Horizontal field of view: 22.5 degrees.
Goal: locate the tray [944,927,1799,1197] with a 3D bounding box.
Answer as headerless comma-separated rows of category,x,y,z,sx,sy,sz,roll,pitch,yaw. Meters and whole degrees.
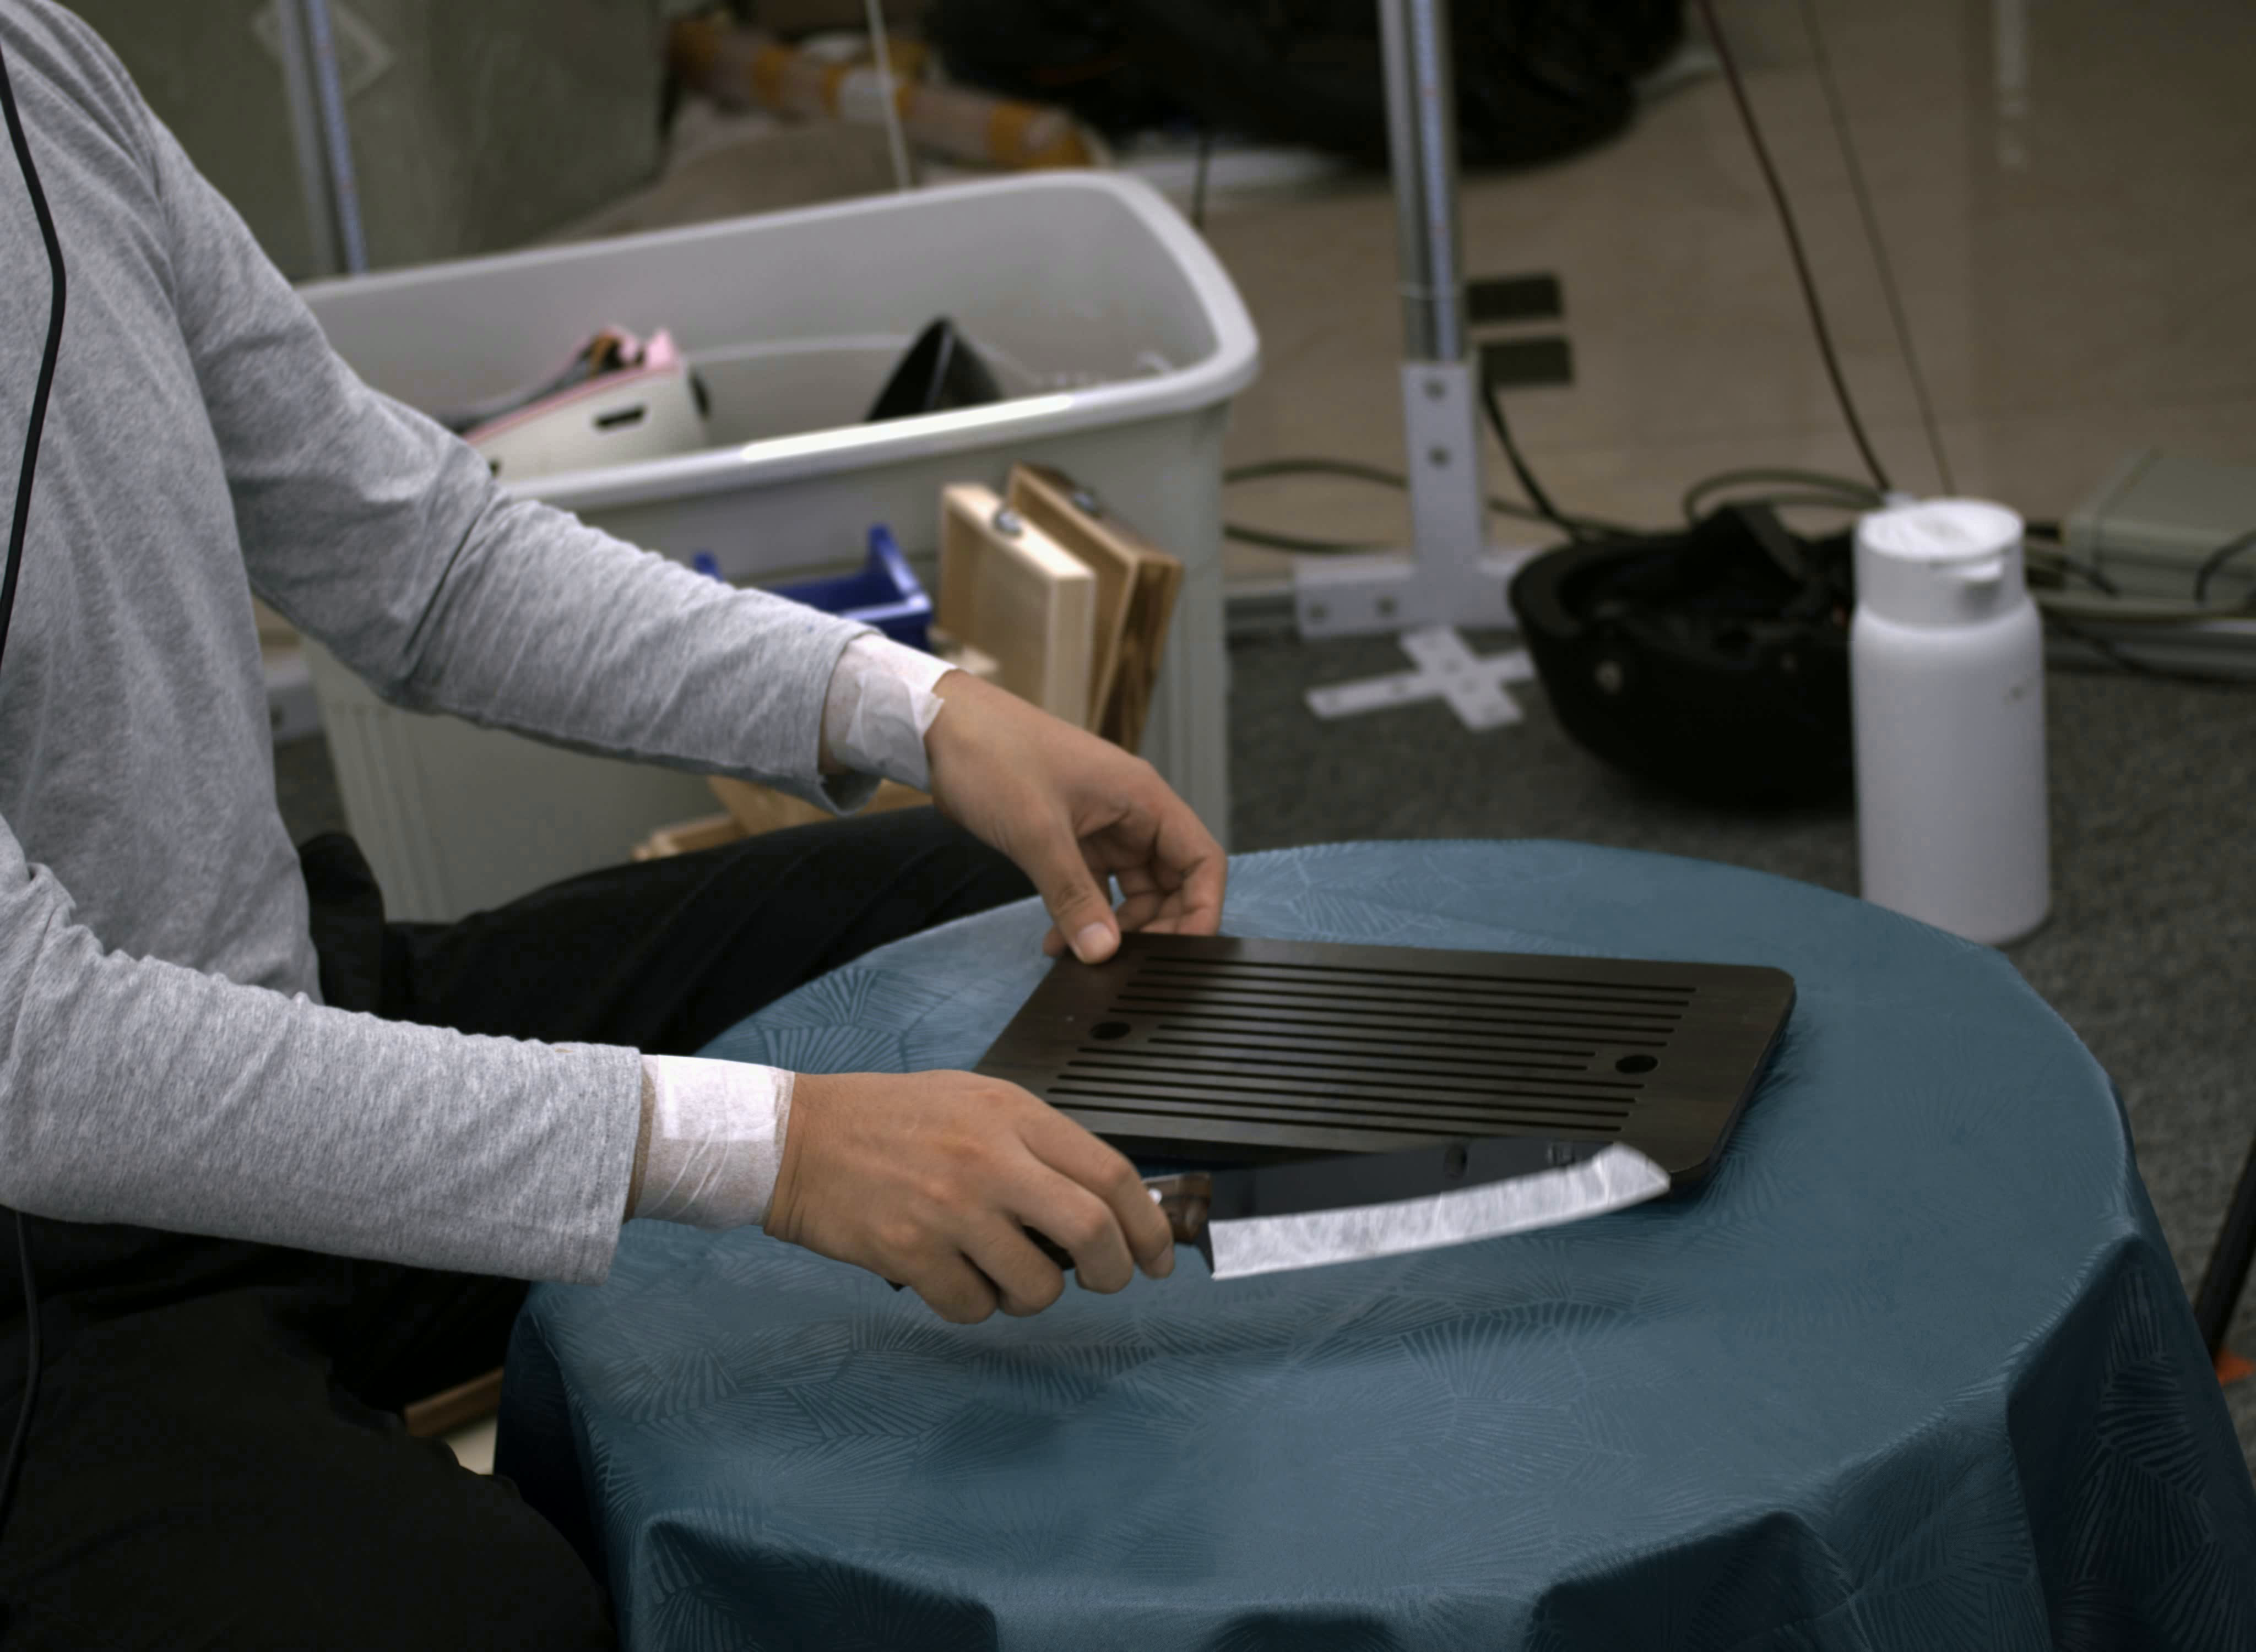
tray,0.096,0.091,2.211,0.305,0.019,0.168,3,27,21

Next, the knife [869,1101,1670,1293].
knife,0.051,0.135,2.033,0.288,0.020,0.049,-8,59,0
